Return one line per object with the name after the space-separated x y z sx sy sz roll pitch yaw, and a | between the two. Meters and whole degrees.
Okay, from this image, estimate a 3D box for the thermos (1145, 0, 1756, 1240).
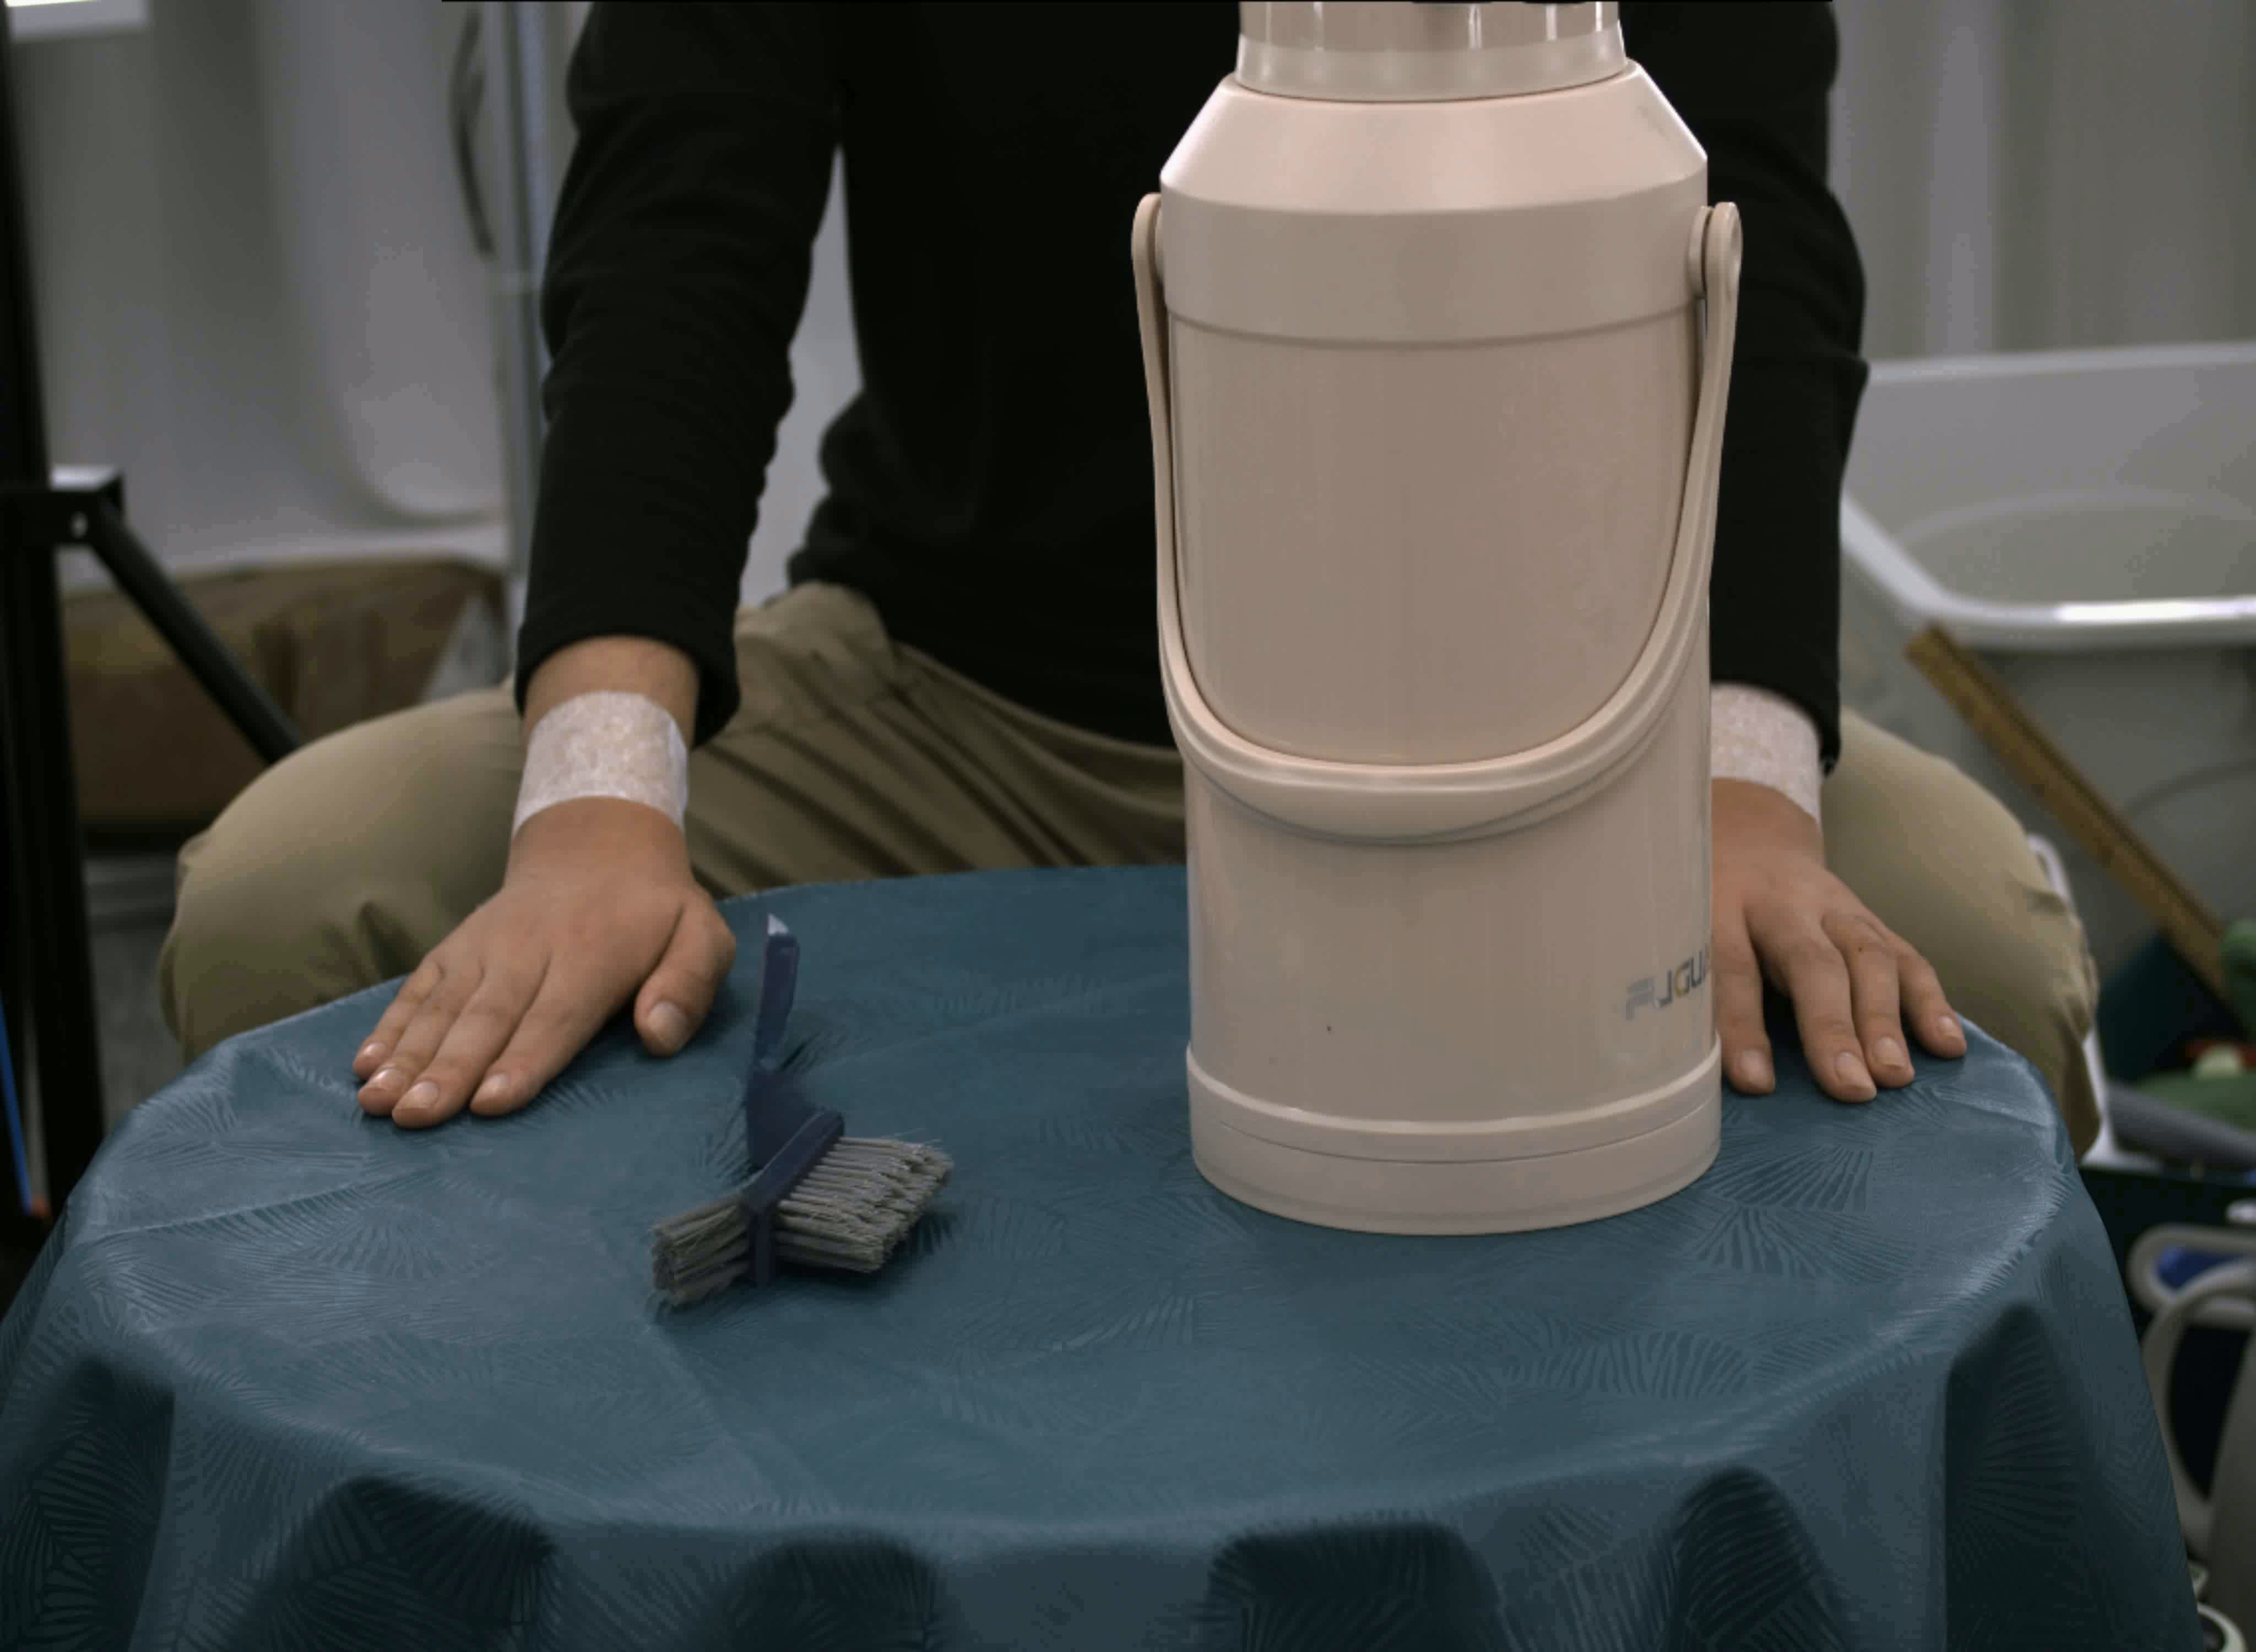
0.099 -0.098 1.544 0.177 0.406 0.205 2 16 19 | thermos

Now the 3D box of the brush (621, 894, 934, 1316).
-0.115 0.081 1.611 0.094 0.033 0.276 -4 18 -8 | brush
